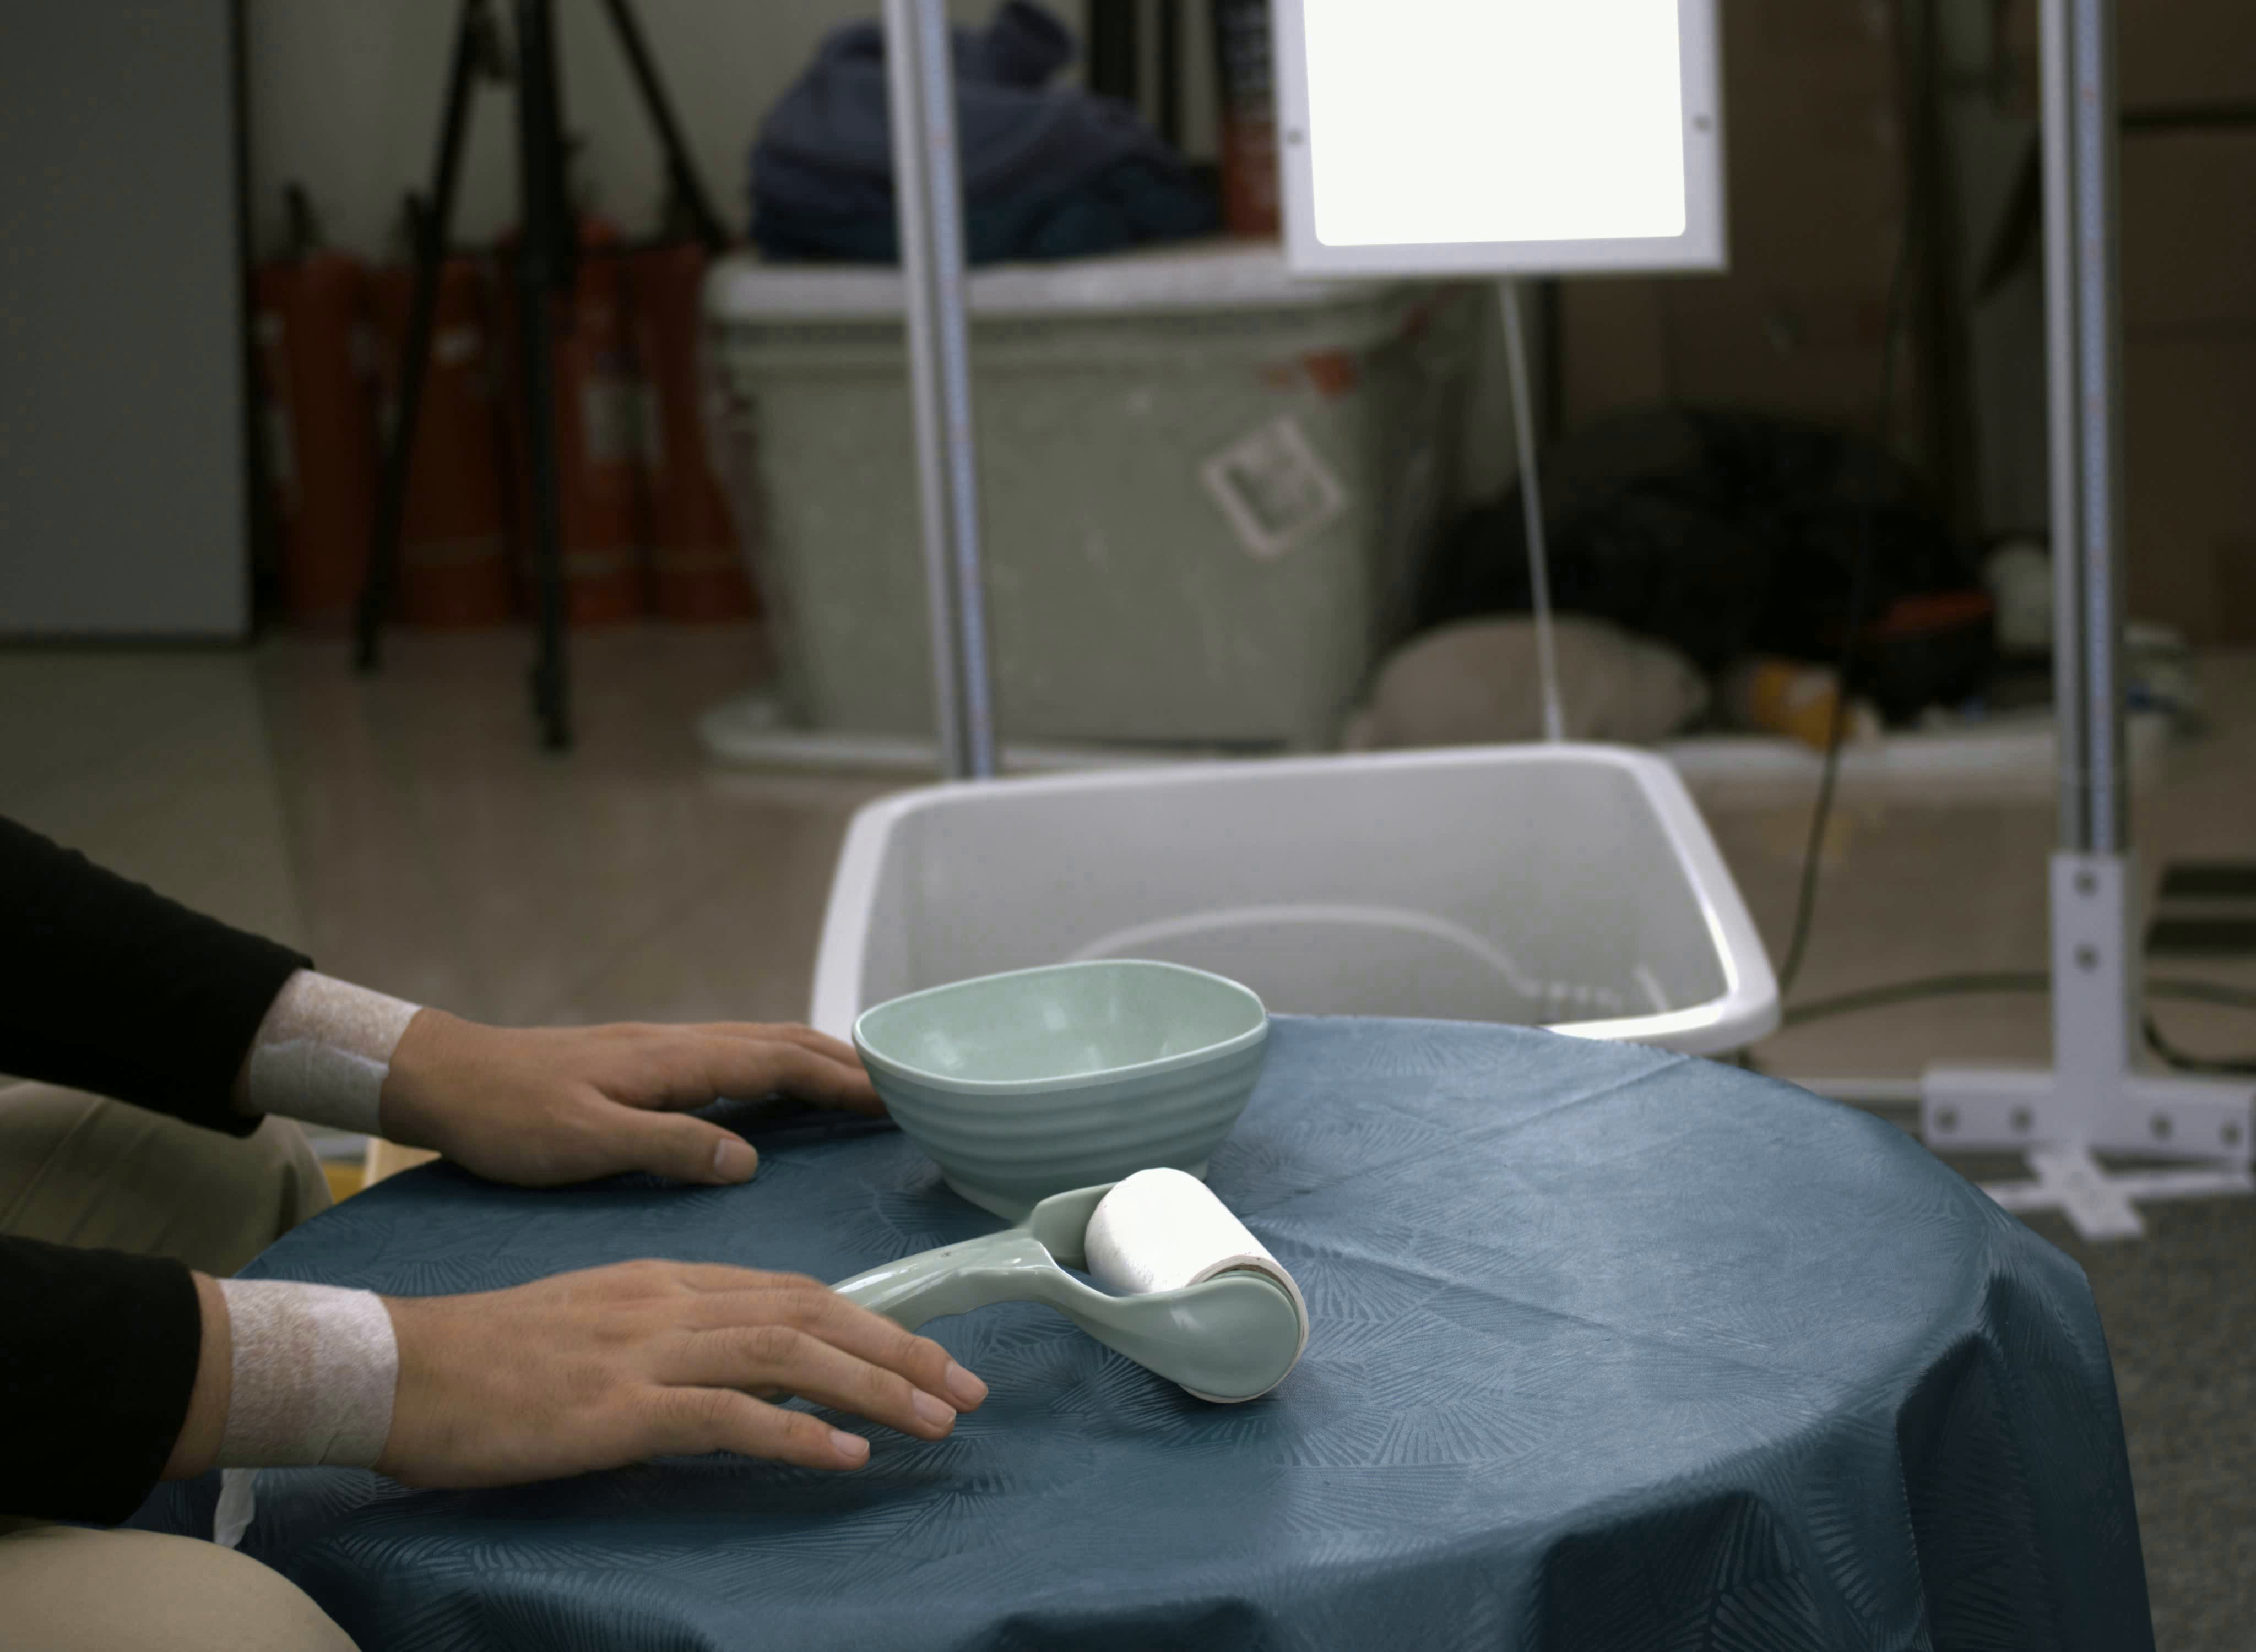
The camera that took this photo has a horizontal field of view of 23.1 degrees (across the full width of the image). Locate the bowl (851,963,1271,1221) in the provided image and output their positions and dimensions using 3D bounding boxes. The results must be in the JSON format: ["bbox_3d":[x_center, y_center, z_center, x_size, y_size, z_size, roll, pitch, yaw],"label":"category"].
[{"bbox_3d":[-0.022,0.095,1.916,0.151,0.059,0.151,-4,14,0],"label":"bowl"}]

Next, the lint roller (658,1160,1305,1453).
[{"bbox_3d":[-0.052,0.153,1.718,0.195,0.049,0.117,-9,16,-11],"label":"lint roller"}]
